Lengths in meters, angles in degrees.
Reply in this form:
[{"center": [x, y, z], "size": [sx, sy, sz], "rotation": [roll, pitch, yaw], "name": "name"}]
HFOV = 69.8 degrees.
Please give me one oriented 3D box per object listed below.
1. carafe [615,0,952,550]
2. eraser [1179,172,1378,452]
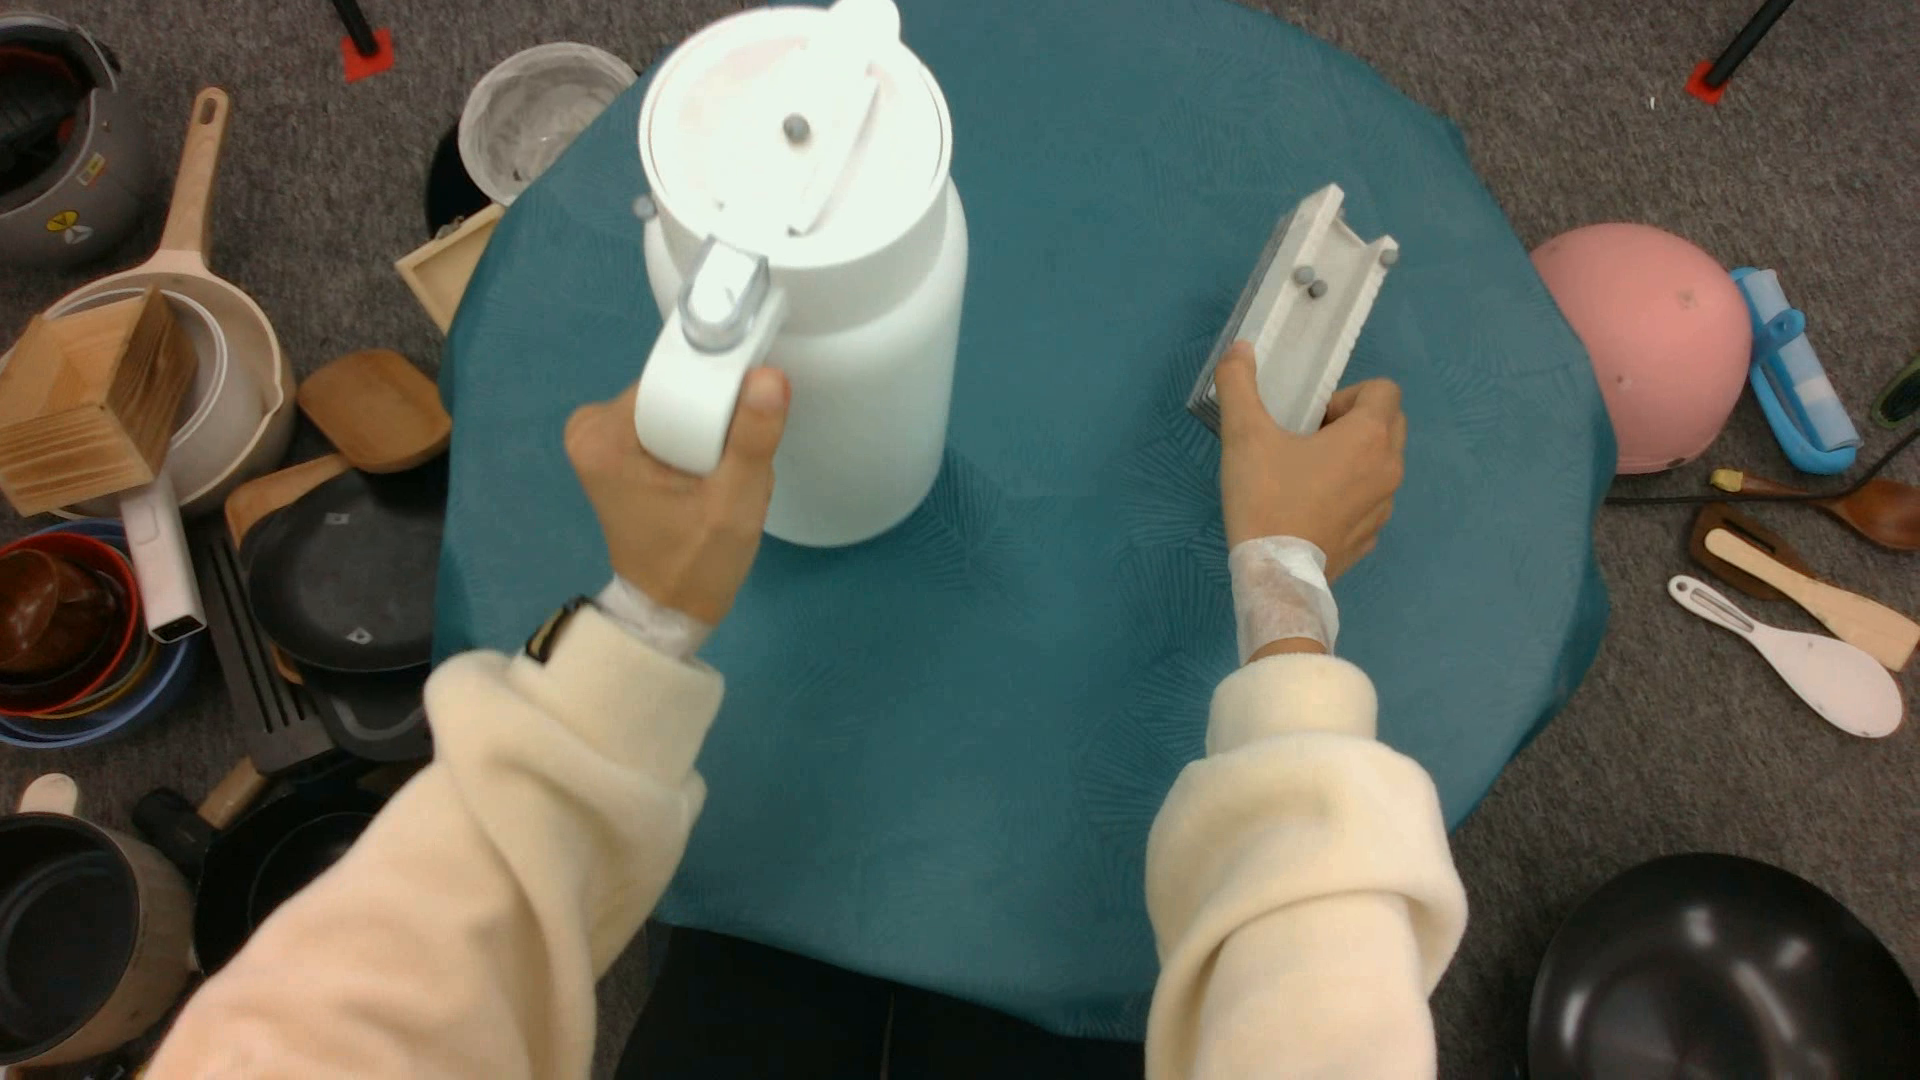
[{"center": [-0.070, -0.077, 0.556], "size": [0.124, 0.268, 0.173], "rotation": [21, 72, 1], "name": "carafe"}, {"center": [0.157, -0.112, 0.678], "size": [0.050, 0.046, 0.135], "rotation": [37, 63, -21], "name": "eraser"}]
